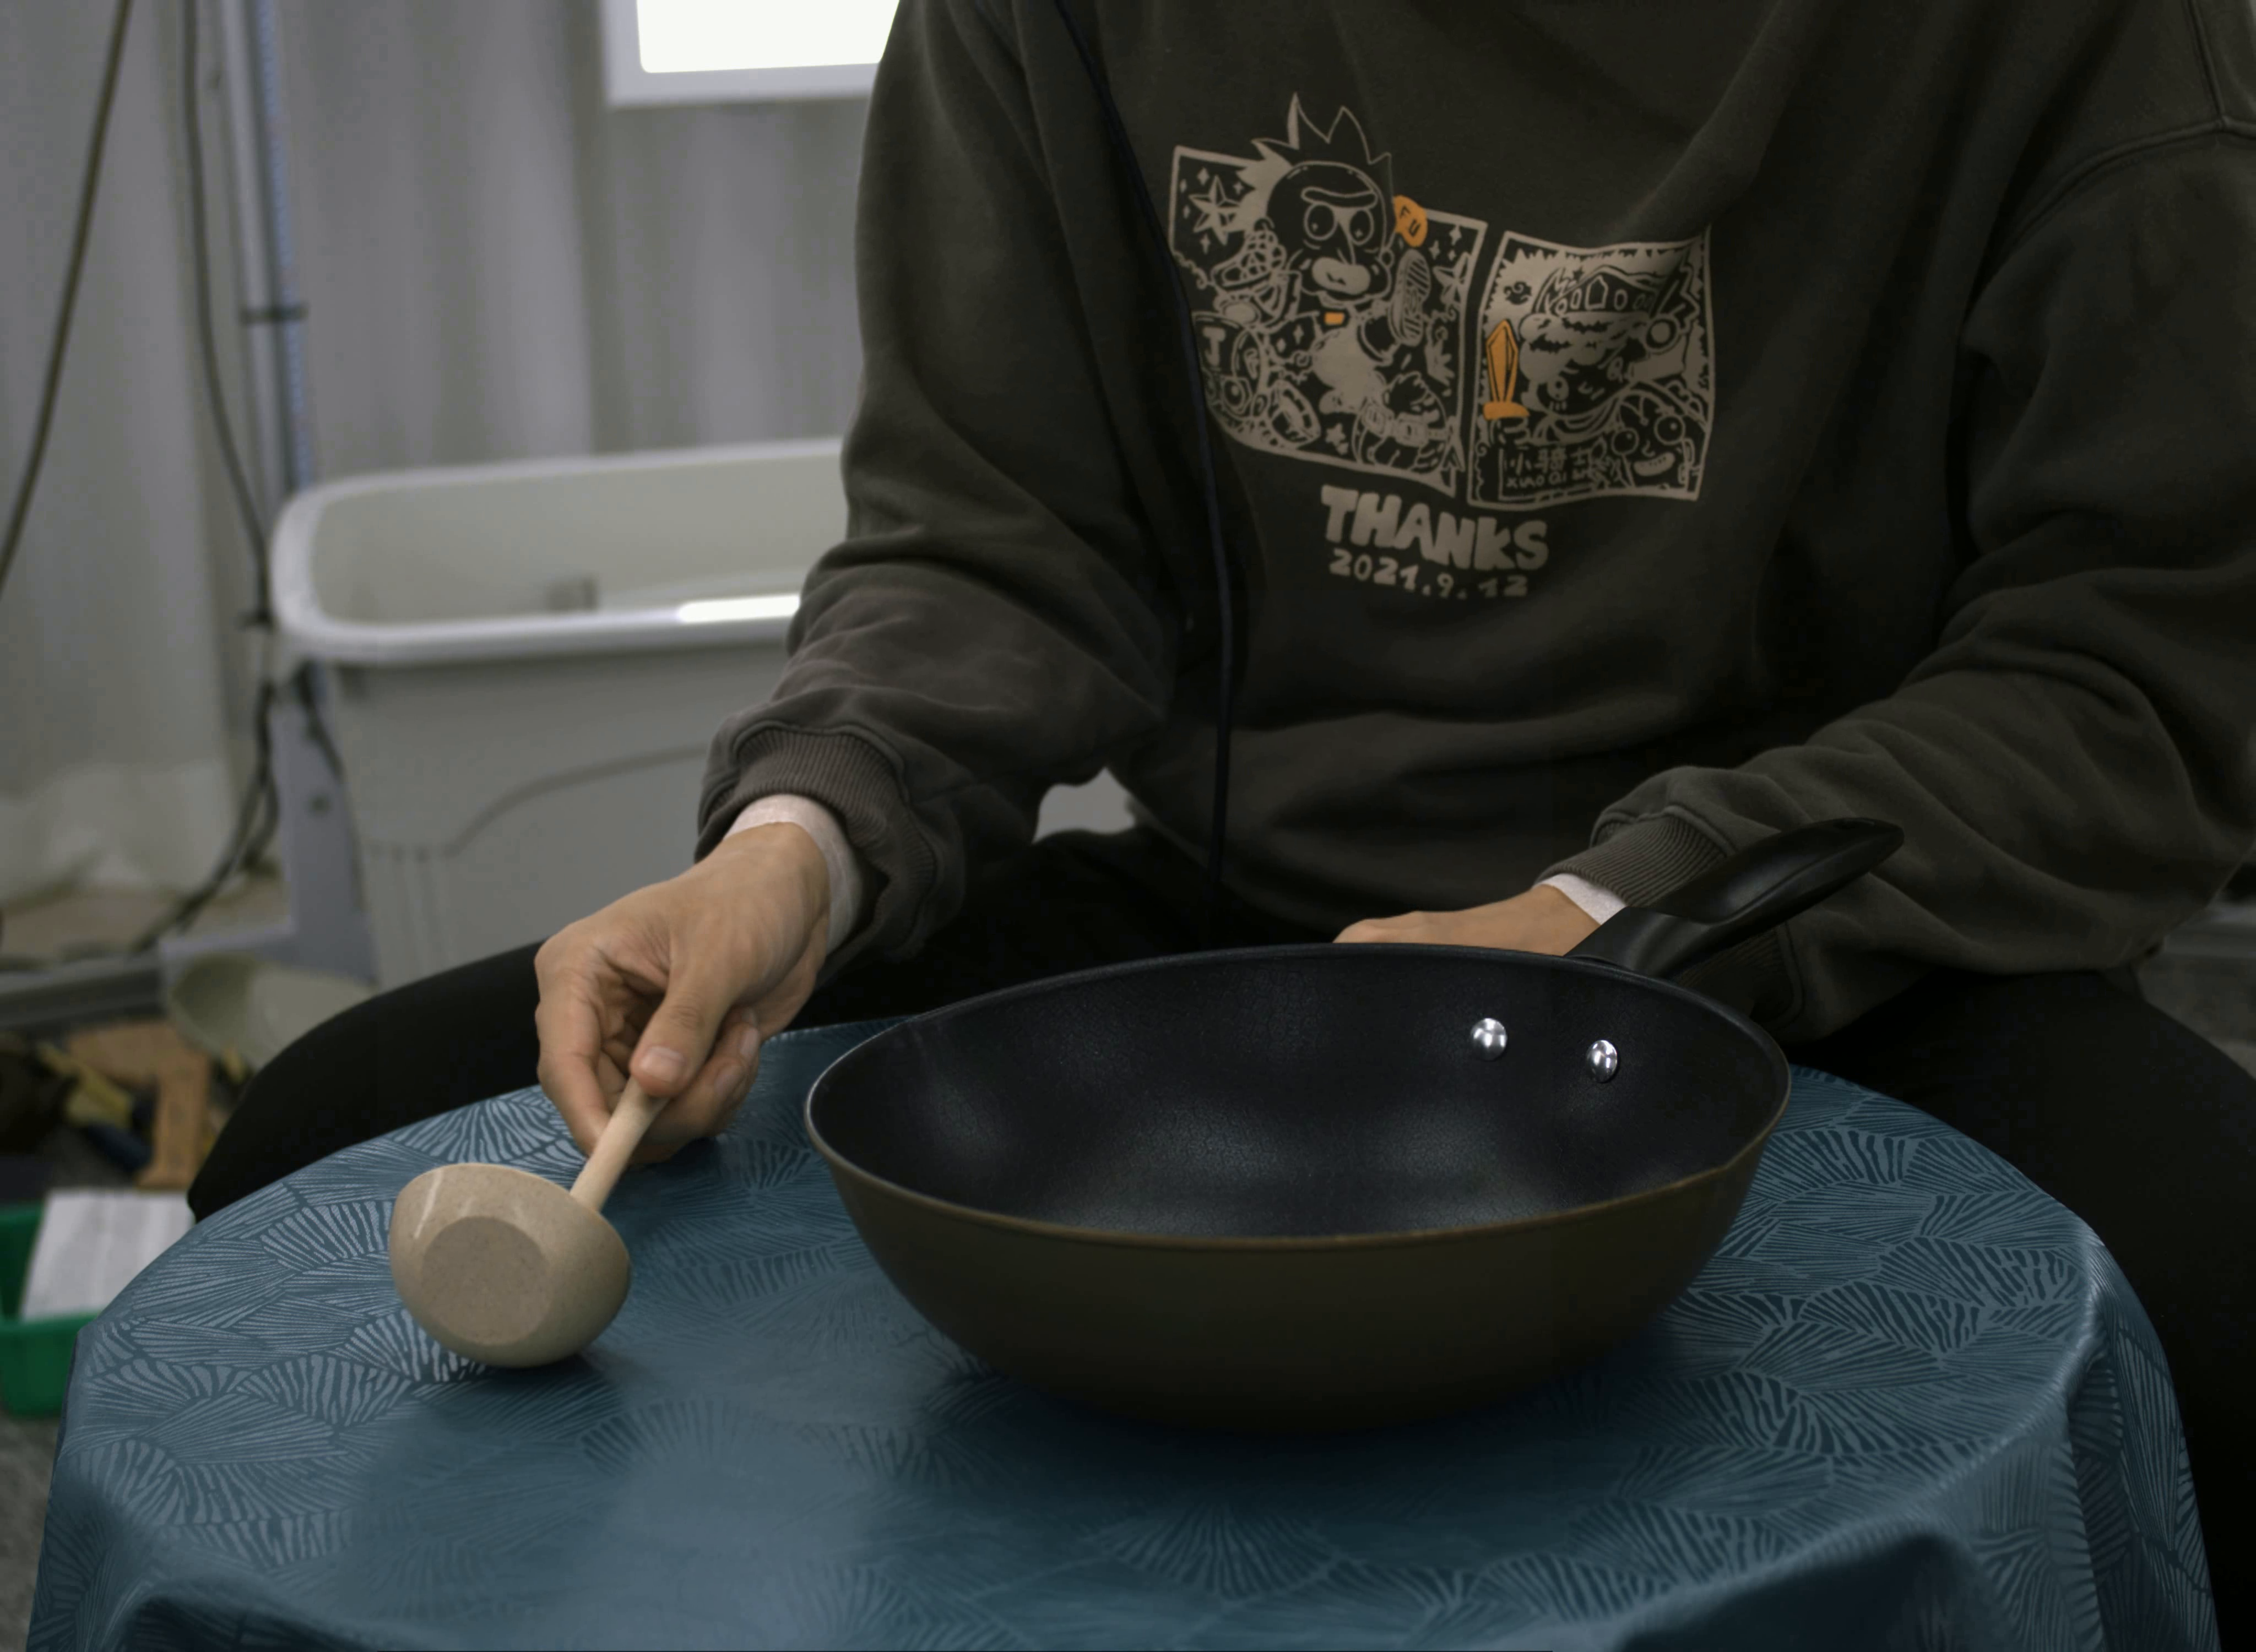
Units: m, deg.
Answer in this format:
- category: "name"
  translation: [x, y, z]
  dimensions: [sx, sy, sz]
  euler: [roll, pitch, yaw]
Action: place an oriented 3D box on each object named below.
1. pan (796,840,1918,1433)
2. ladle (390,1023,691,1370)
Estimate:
- category: "pan"
  translation: [0.103, 0.089, 1.639]
  dimensions: [0.289, 0.086, 0.463]
  euler: [8, 18, 37]
- category: "ladle"
  translation: [-0.166, 0.085, 1.679]
  dimensions: [0.072, 0.072, 0.257]
  euler: [3, 24, 6]
